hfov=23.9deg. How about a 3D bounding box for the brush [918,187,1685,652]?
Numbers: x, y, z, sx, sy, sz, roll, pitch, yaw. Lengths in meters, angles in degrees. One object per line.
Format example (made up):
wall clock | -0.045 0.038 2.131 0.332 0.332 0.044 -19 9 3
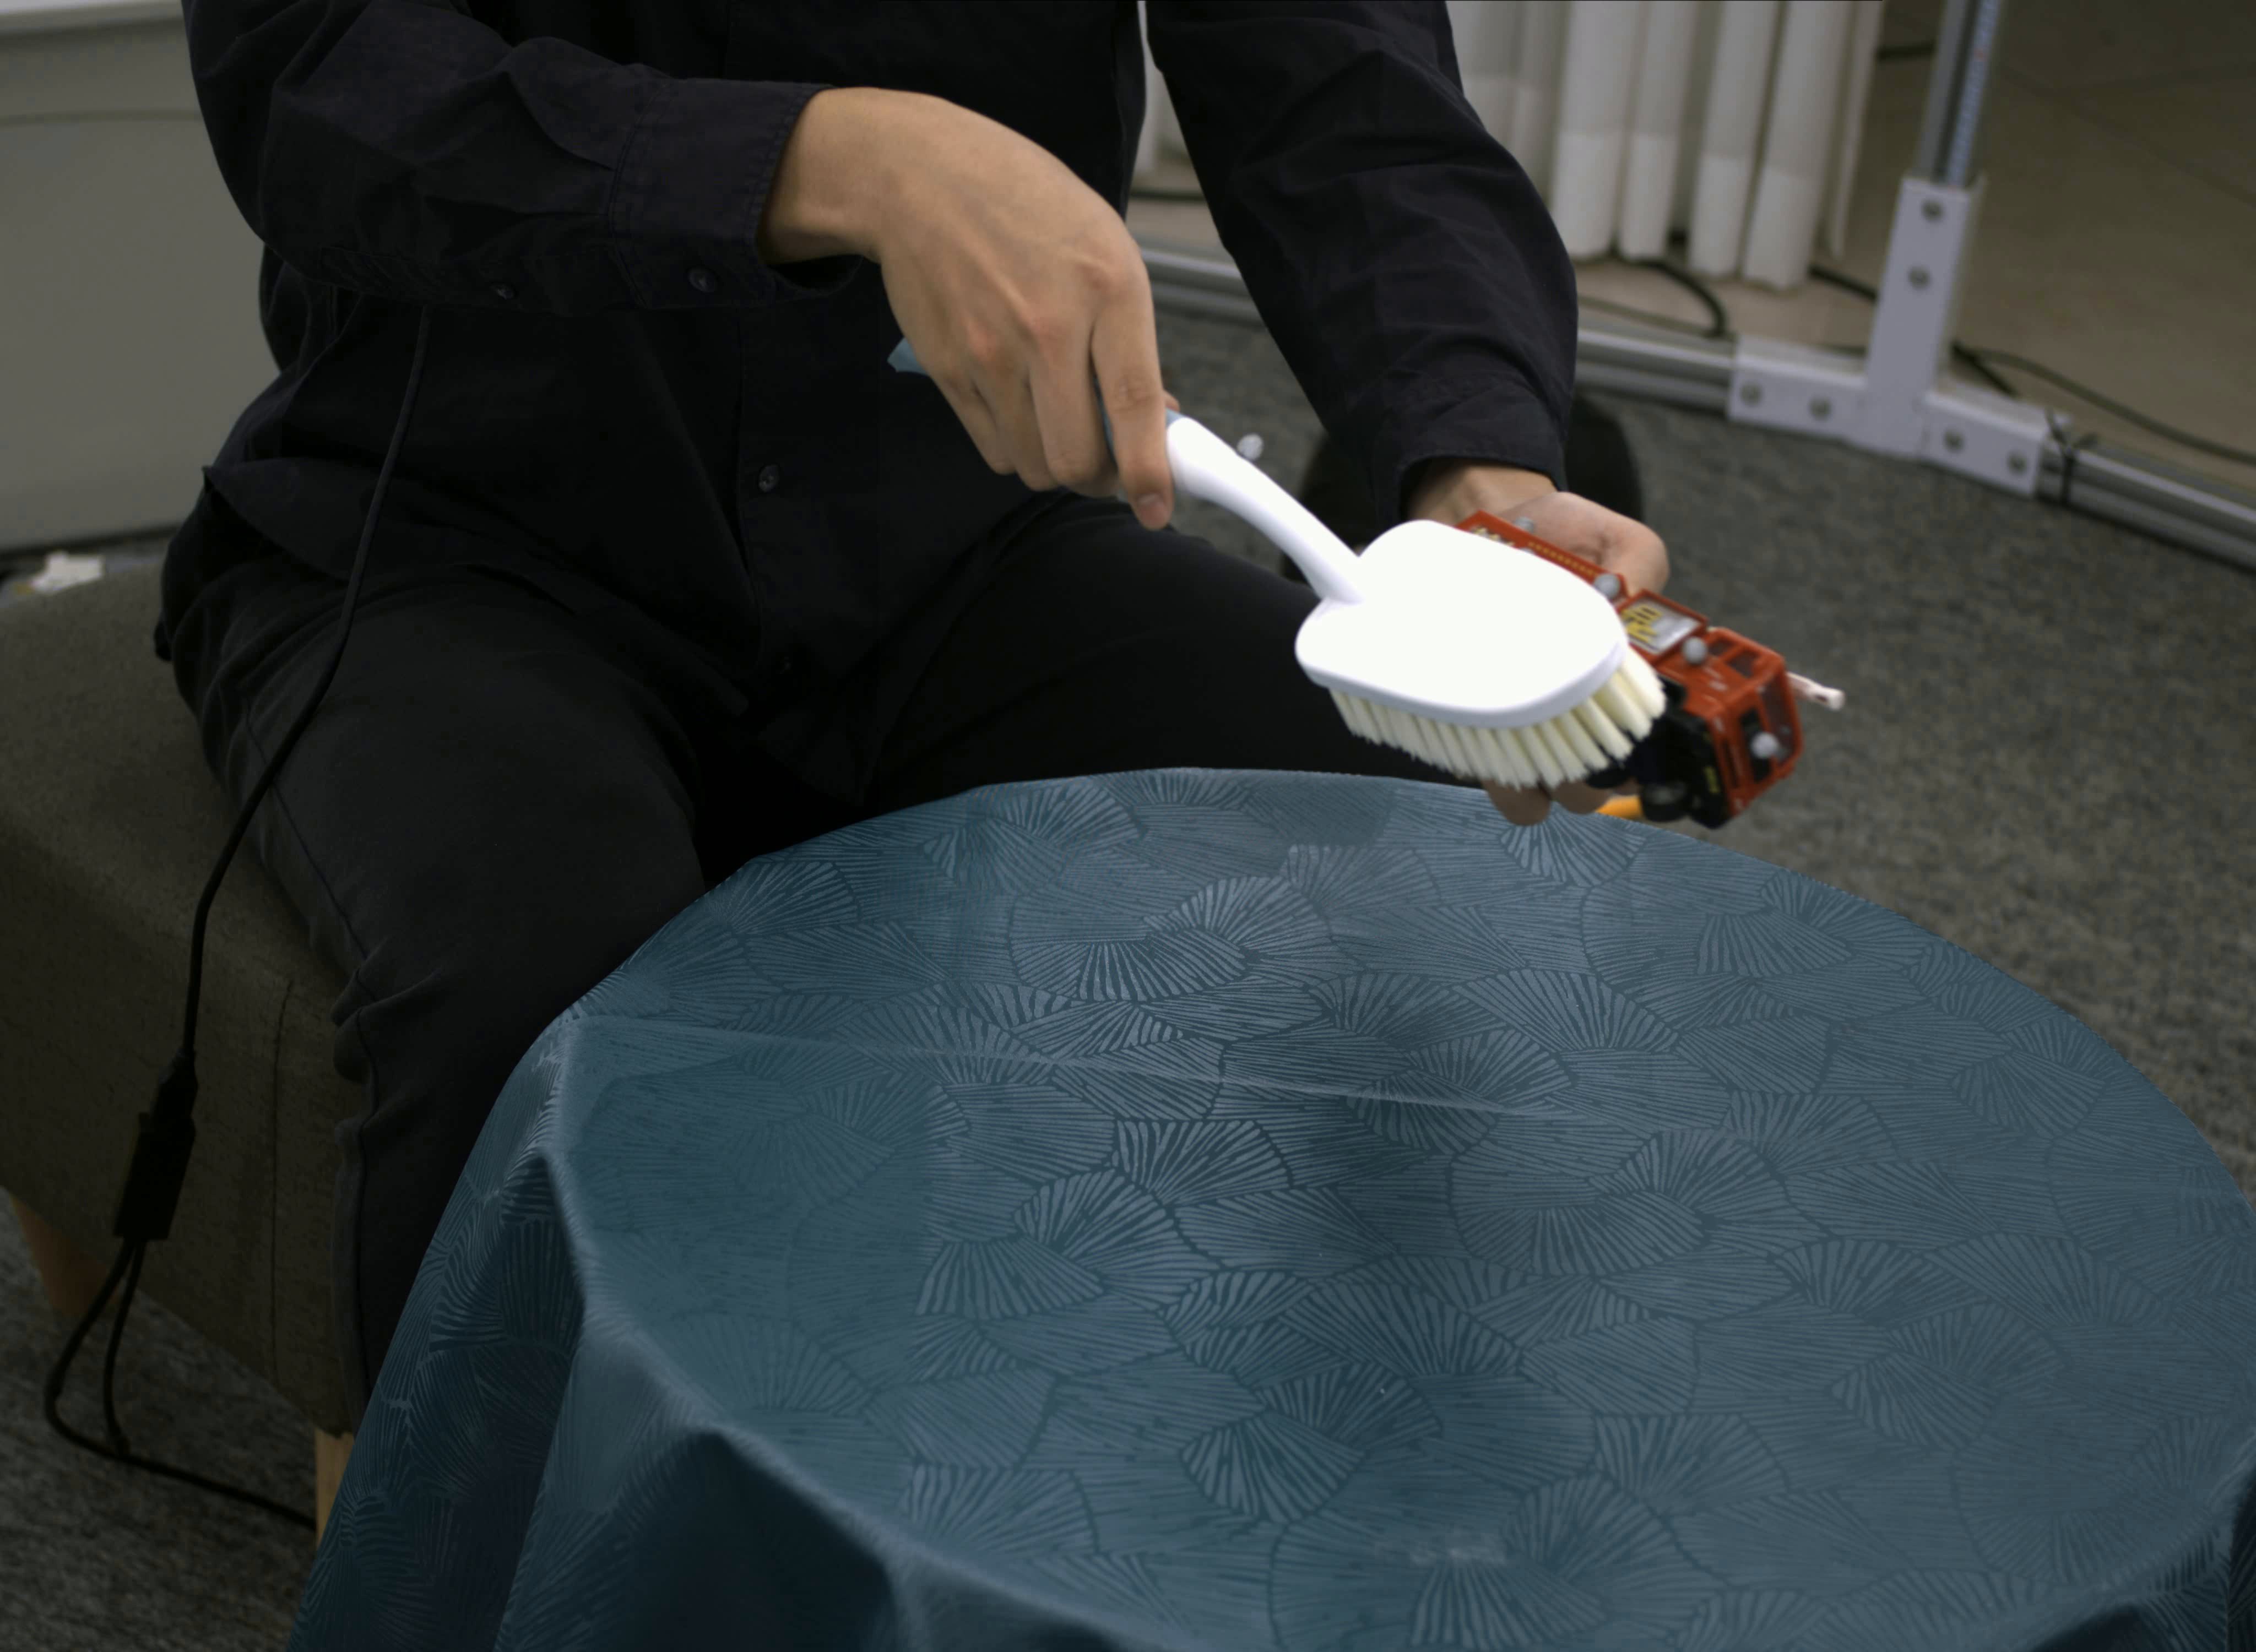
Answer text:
brush | 0.059 -0.136 1.790 0.328 0.084 0.082 28 34 36

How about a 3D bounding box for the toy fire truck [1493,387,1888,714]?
toy fire truck | 0.170 -0.093 1.765 0.070 0.053 0.169 -35 38 -22
